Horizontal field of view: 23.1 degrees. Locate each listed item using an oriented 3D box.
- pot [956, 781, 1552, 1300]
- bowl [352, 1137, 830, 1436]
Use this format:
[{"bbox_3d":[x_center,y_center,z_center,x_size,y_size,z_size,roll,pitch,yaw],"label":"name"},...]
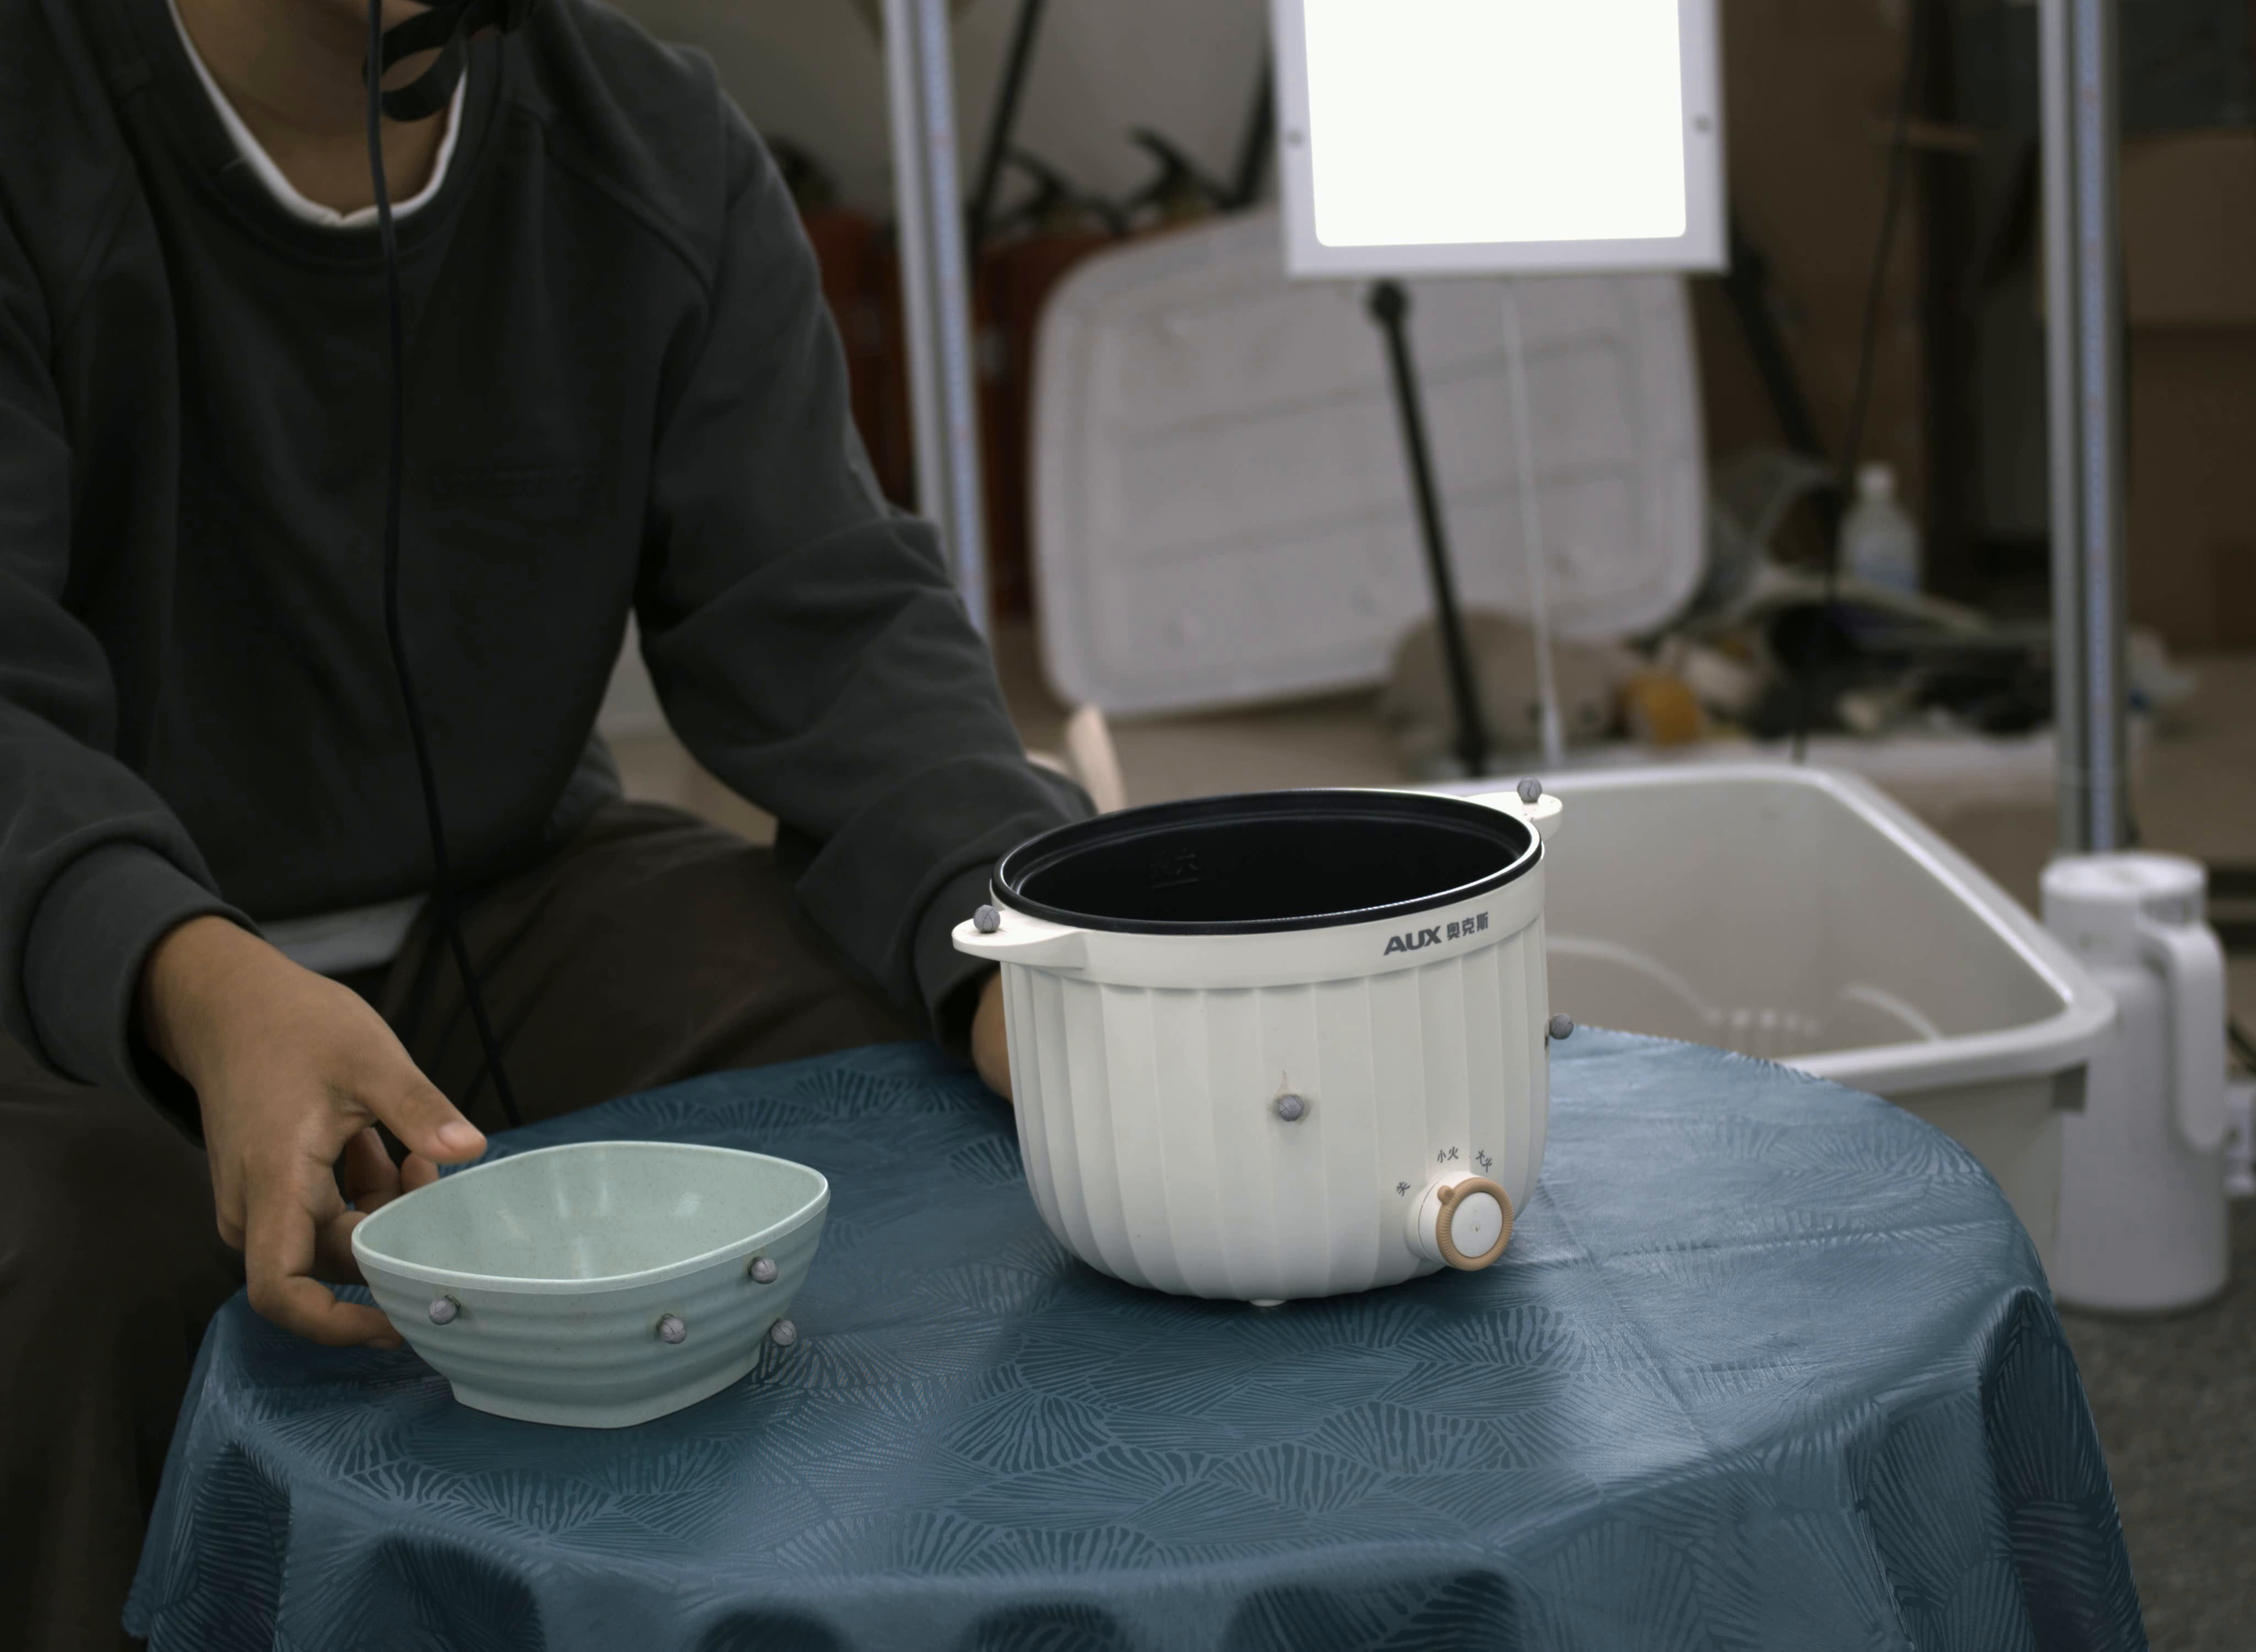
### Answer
[{"bbox_3d":[0.054,0.072,1.806,0.234,0.143,0.194,-16,14,-33],"label":"pot"},{"bbox_3d":[-0.167,0.149,1.747,0.151,0.059,0.151,-4,15,0],"label":"bowl"}]
